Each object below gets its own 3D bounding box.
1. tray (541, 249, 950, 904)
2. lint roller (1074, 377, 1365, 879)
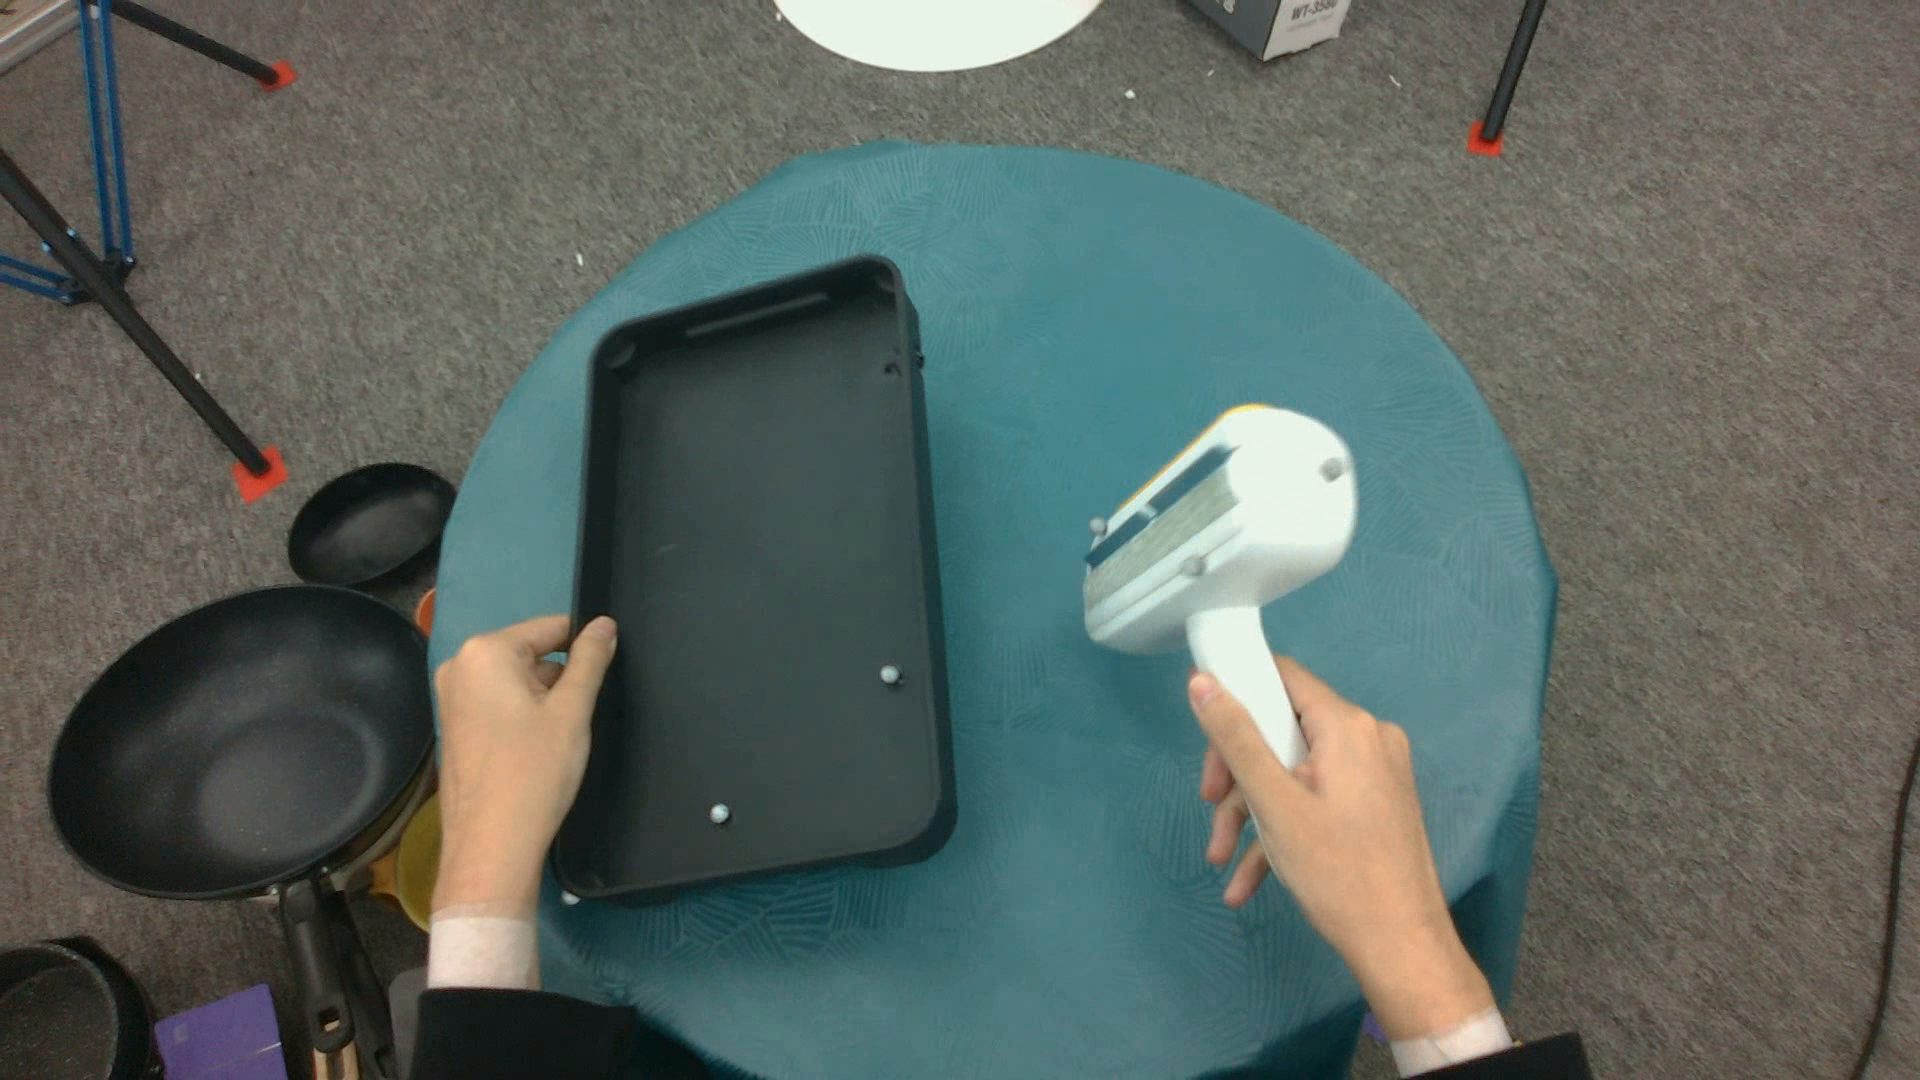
[{"bbox_3d":[-0.108,0.007,0.674,0.184,0.037,0.319,-13,59,11],"label":"tray"},{"bbox_3d":[0.113,0.046,0.584,0.074,0.192,0.193,1,76,-22],"label":"lint roller"}]
